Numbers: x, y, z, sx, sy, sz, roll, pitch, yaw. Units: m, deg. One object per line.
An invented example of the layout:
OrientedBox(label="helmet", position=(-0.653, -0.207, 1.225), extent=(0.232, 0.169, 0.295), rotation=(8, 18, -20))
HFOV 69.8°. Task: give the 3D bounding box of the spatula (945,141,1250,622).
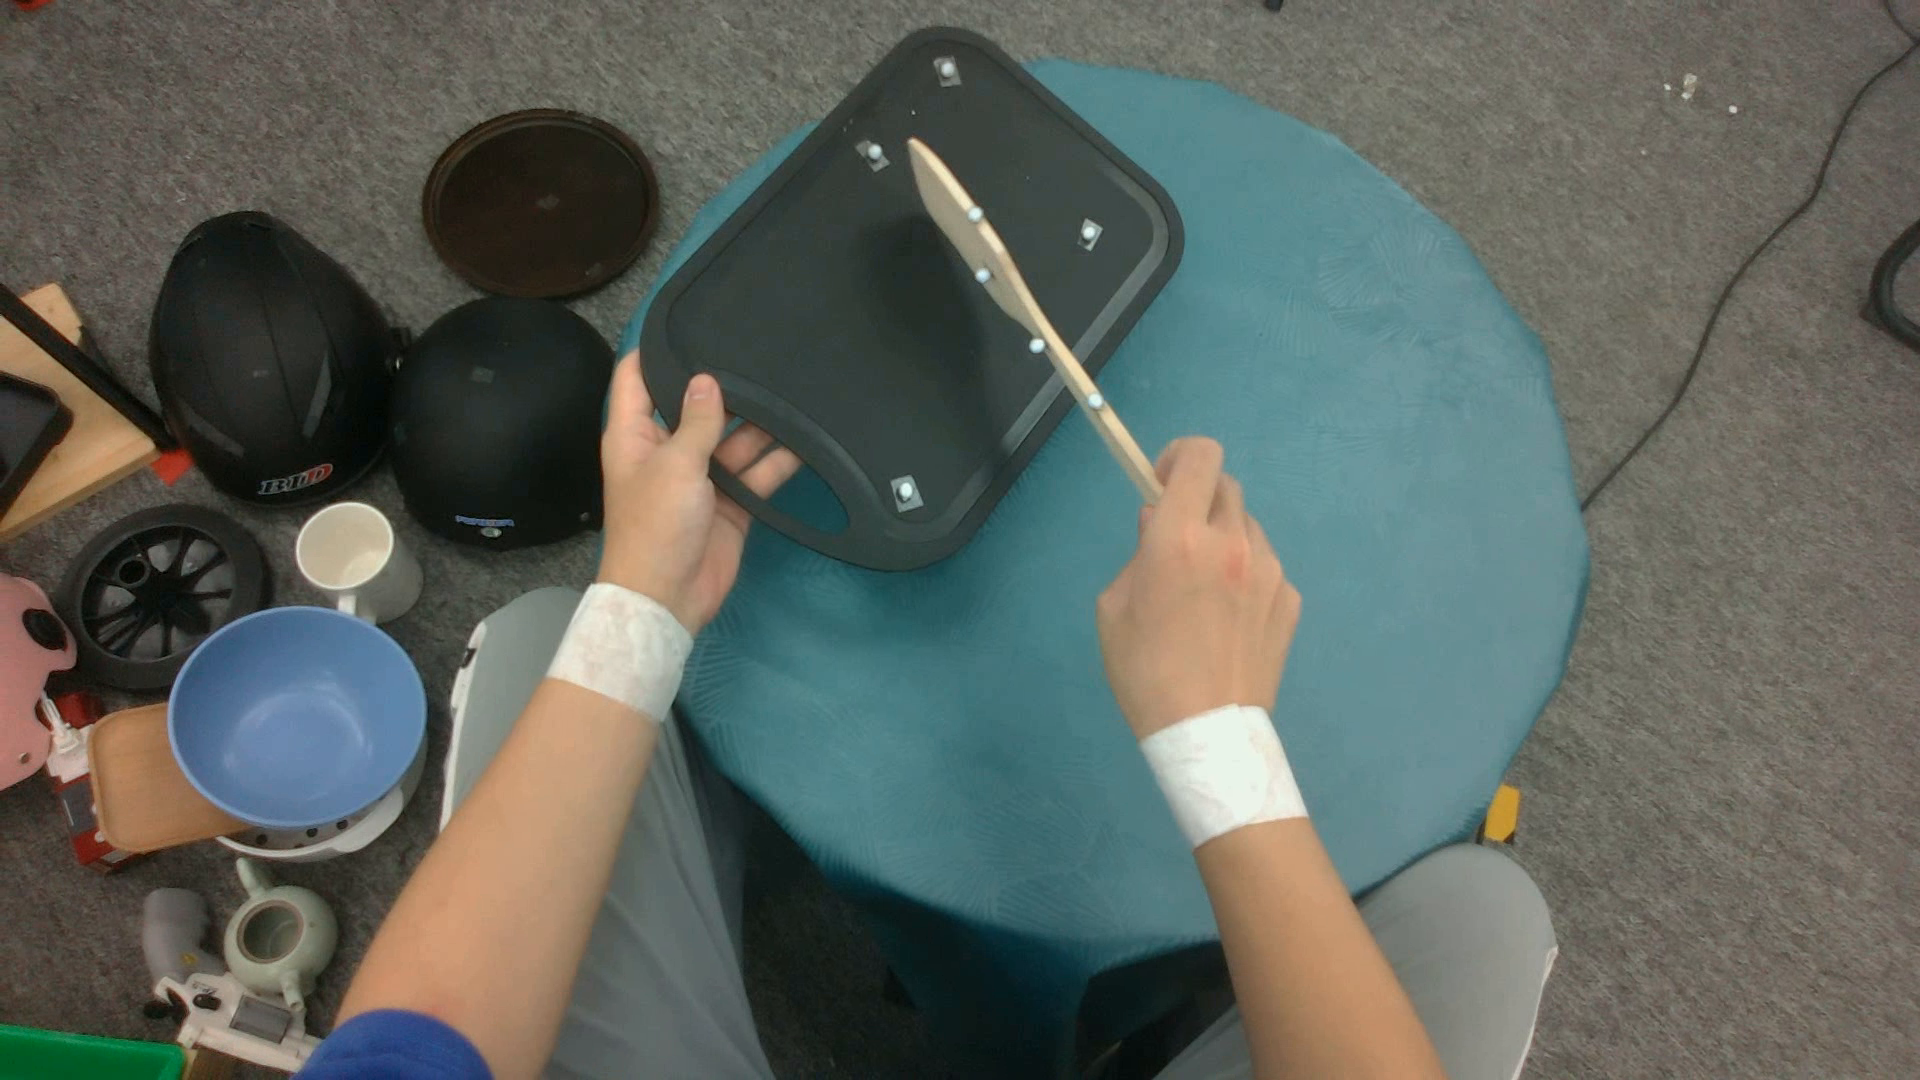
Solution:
OrientedBox(label="spatula", position=(0.067, -0.082, 0.708), extent=(0.010, 0.072, 0.293), rotation=(-28, 72, -9))

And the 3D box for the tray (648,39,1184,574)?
OrientedBox(label="tray", position=(-0.018, -0.136, 0.779), extent=(0.211, 0.010, 0.326), rotation=(39, 68, -2))
